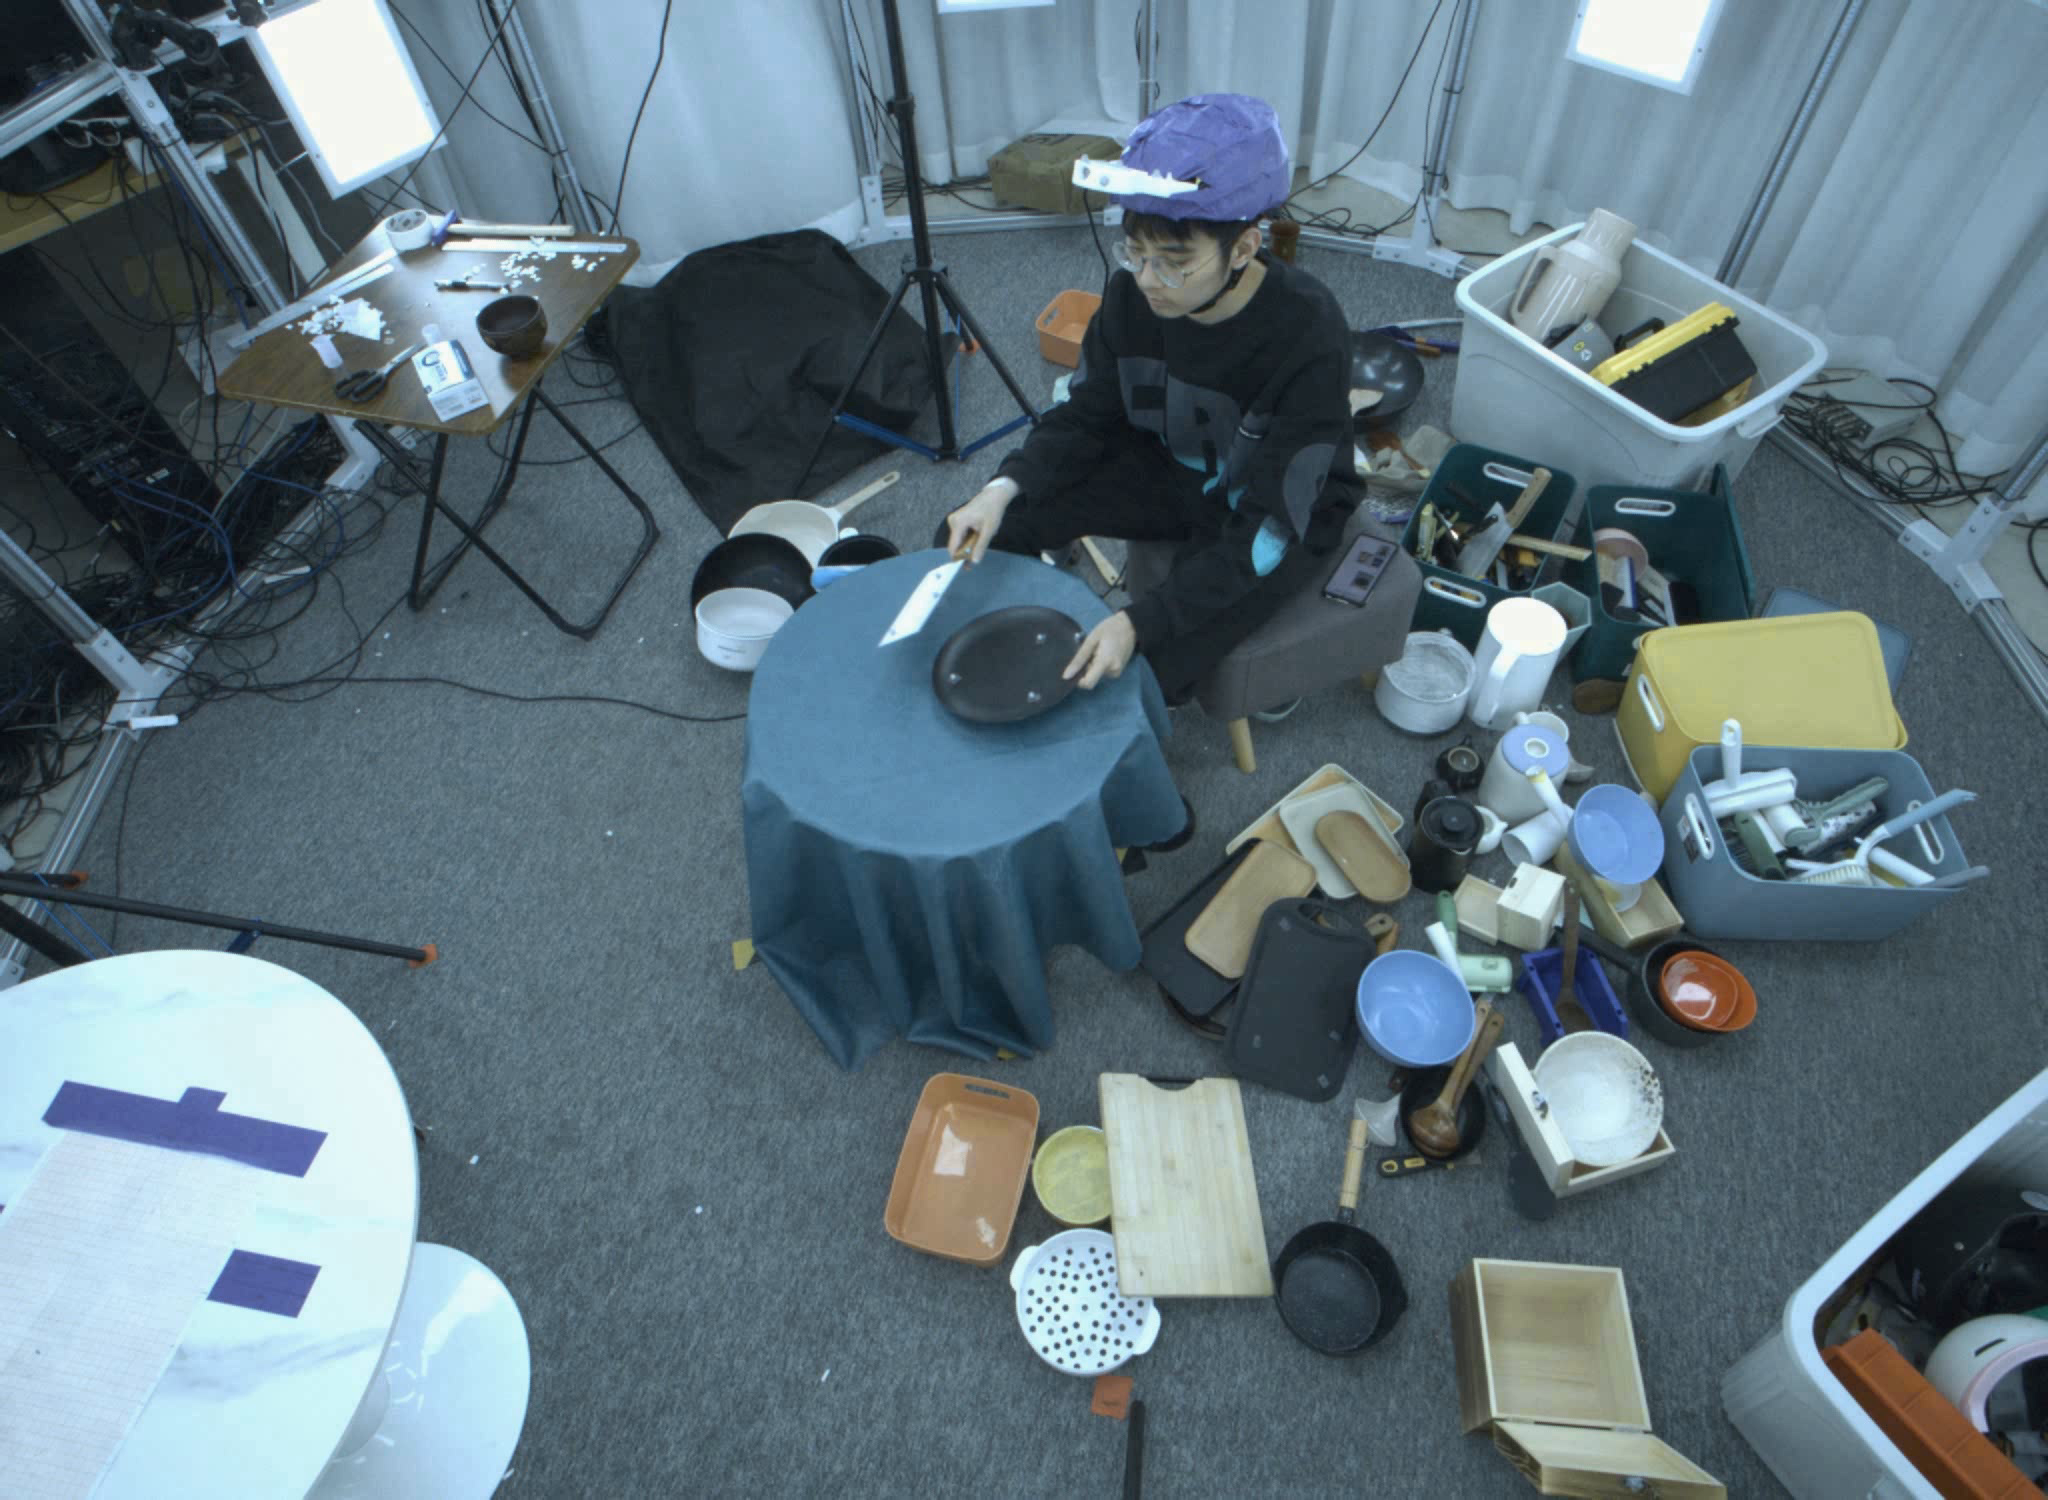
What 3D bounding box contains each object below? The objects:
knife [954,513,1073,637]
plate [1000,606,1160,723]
[{"bbox_3d":[-0.019,-0.270,1.886,0.091,0.021,0.306,-13,32,43],"label":"knife"},{"bbox_3d":[0.084,-0.125,1.839,0.243,0.024,0.242,-6,49,9],"label":"plate"}]
